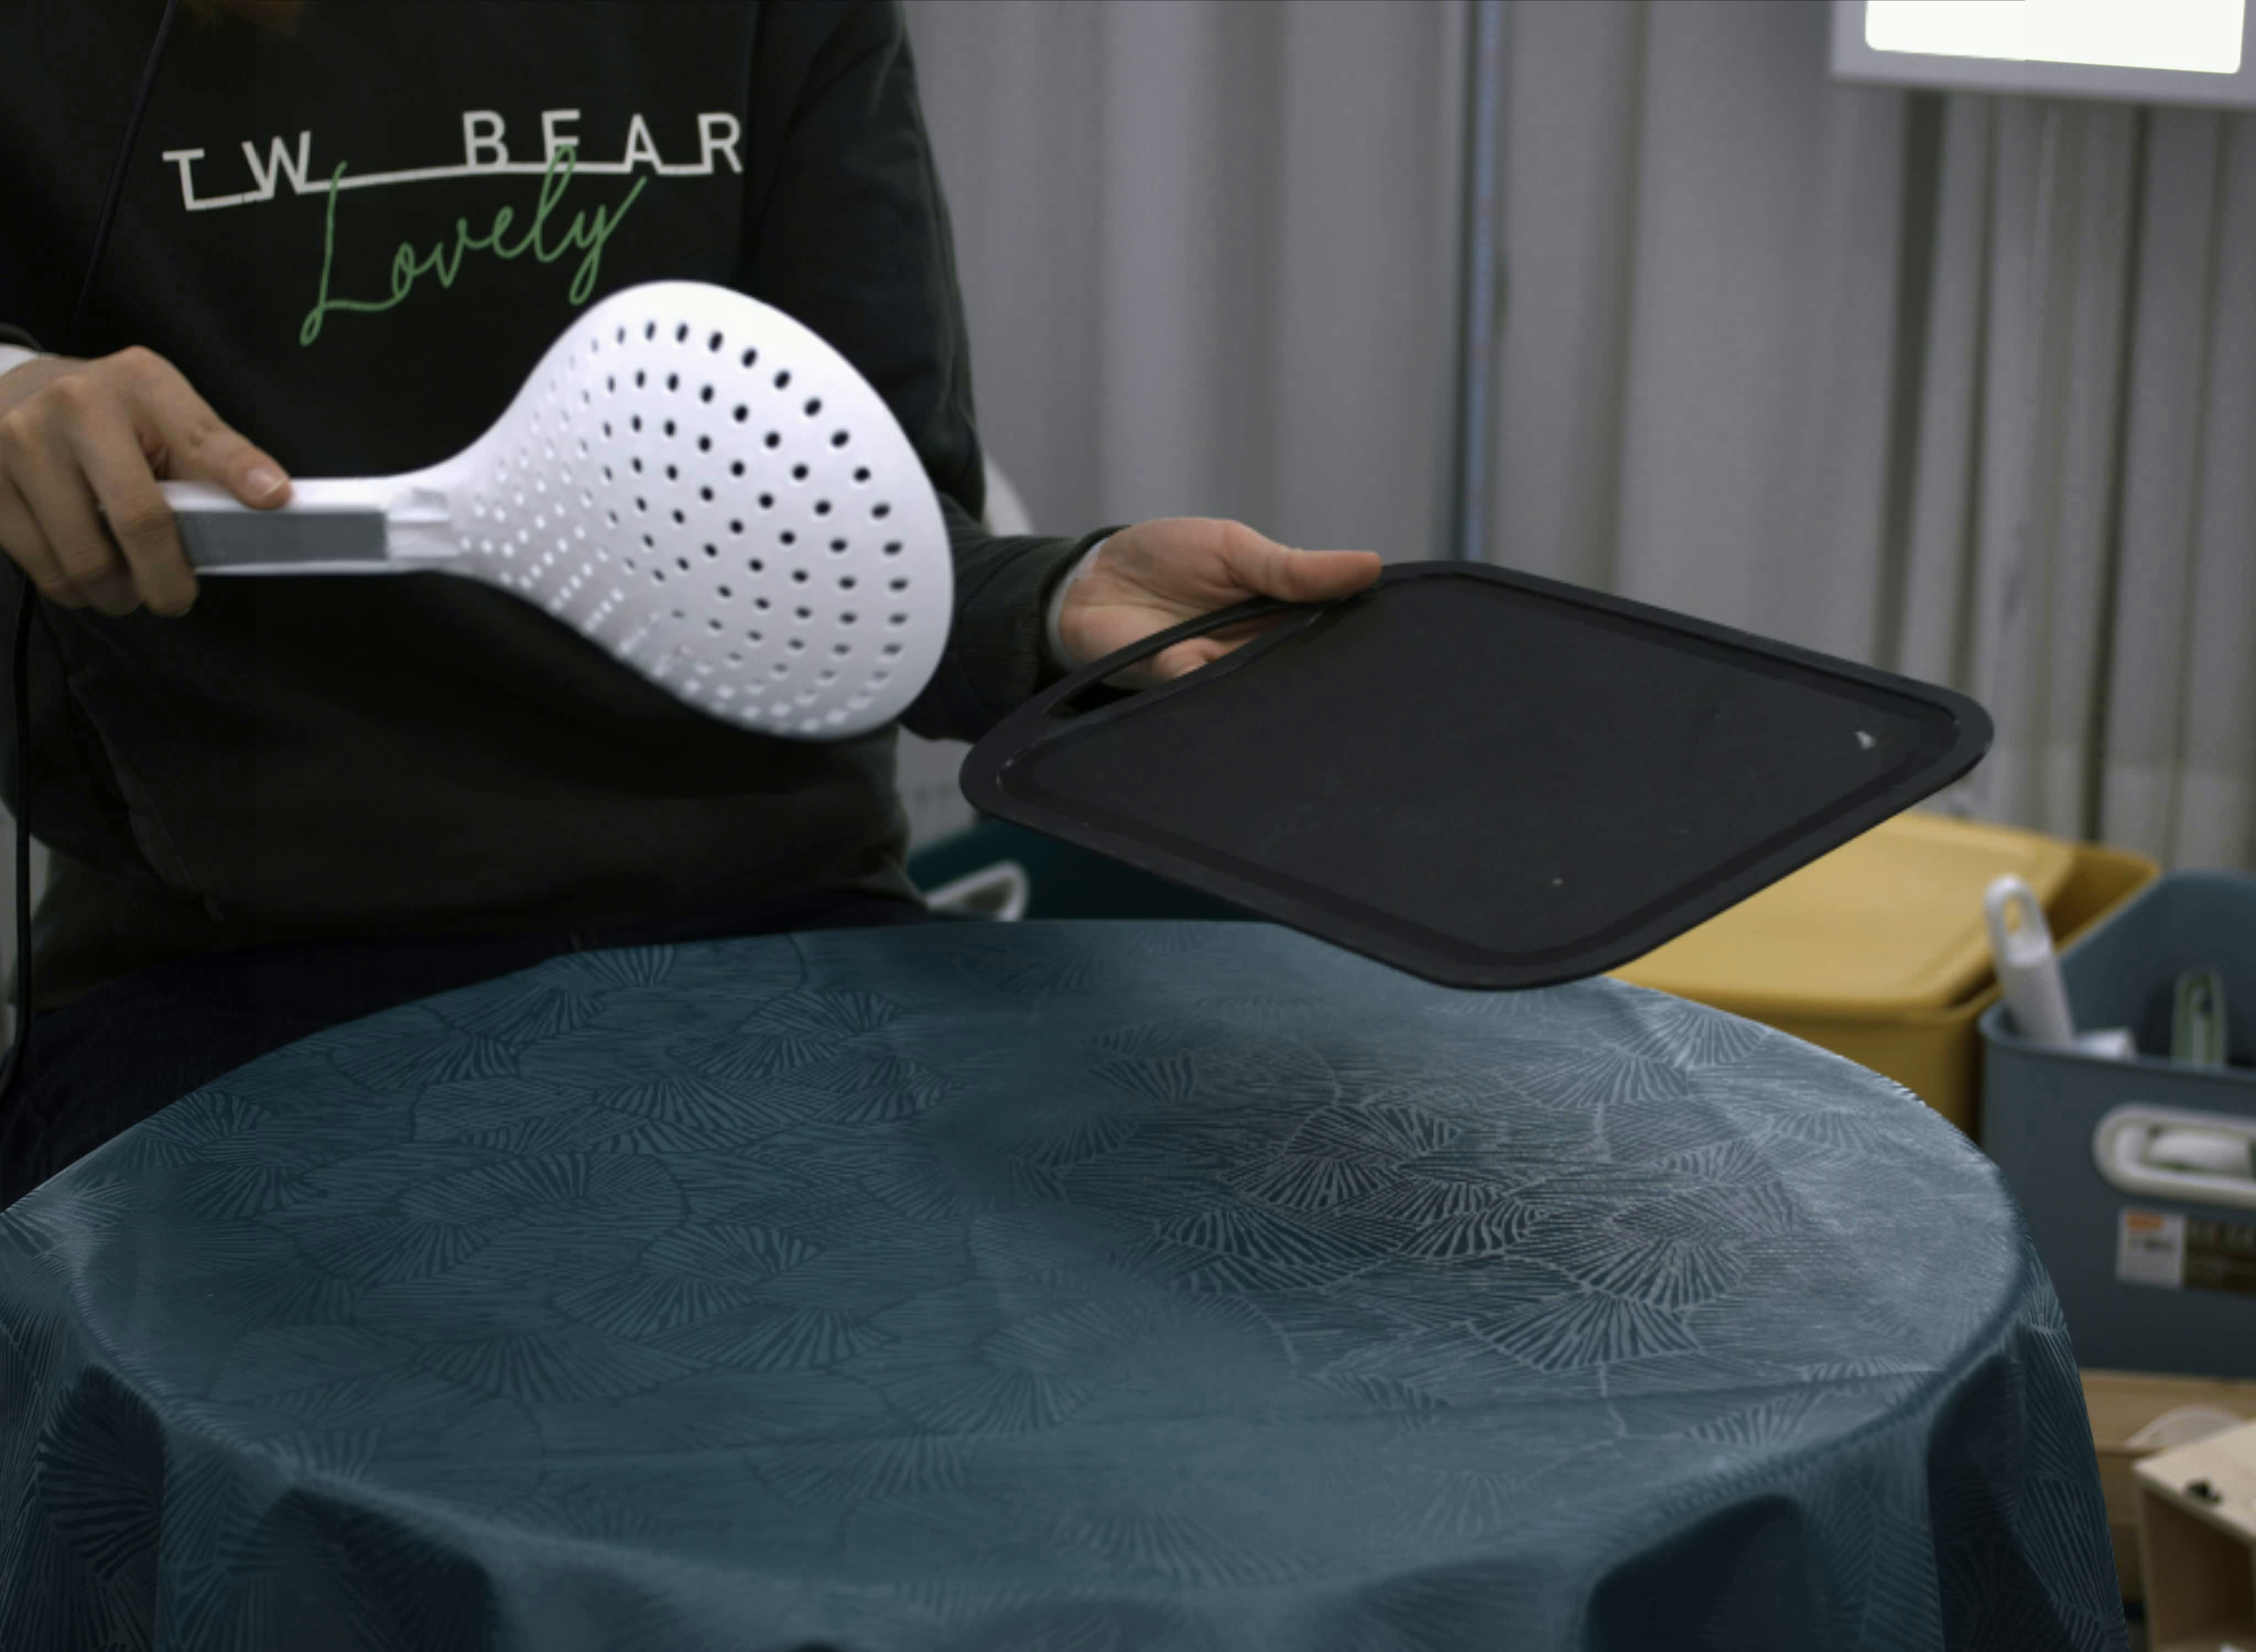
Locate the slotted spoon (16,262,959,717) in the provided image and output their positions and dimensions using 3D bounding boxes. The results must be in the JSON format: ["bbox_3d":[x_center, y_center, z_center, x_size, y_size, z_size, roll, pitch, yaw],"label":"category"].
[{"bbox_3d":[-0.190,-0.088,1.472,0.345,0.137,0.046,5,34,41],"label":"slotted spoon"}]

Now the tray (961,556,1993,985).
[{"bbox_3d":[0.095,-0.025,1.615,0.211,0.010,0.321,-27,28,-29],"label":"tray"}]
